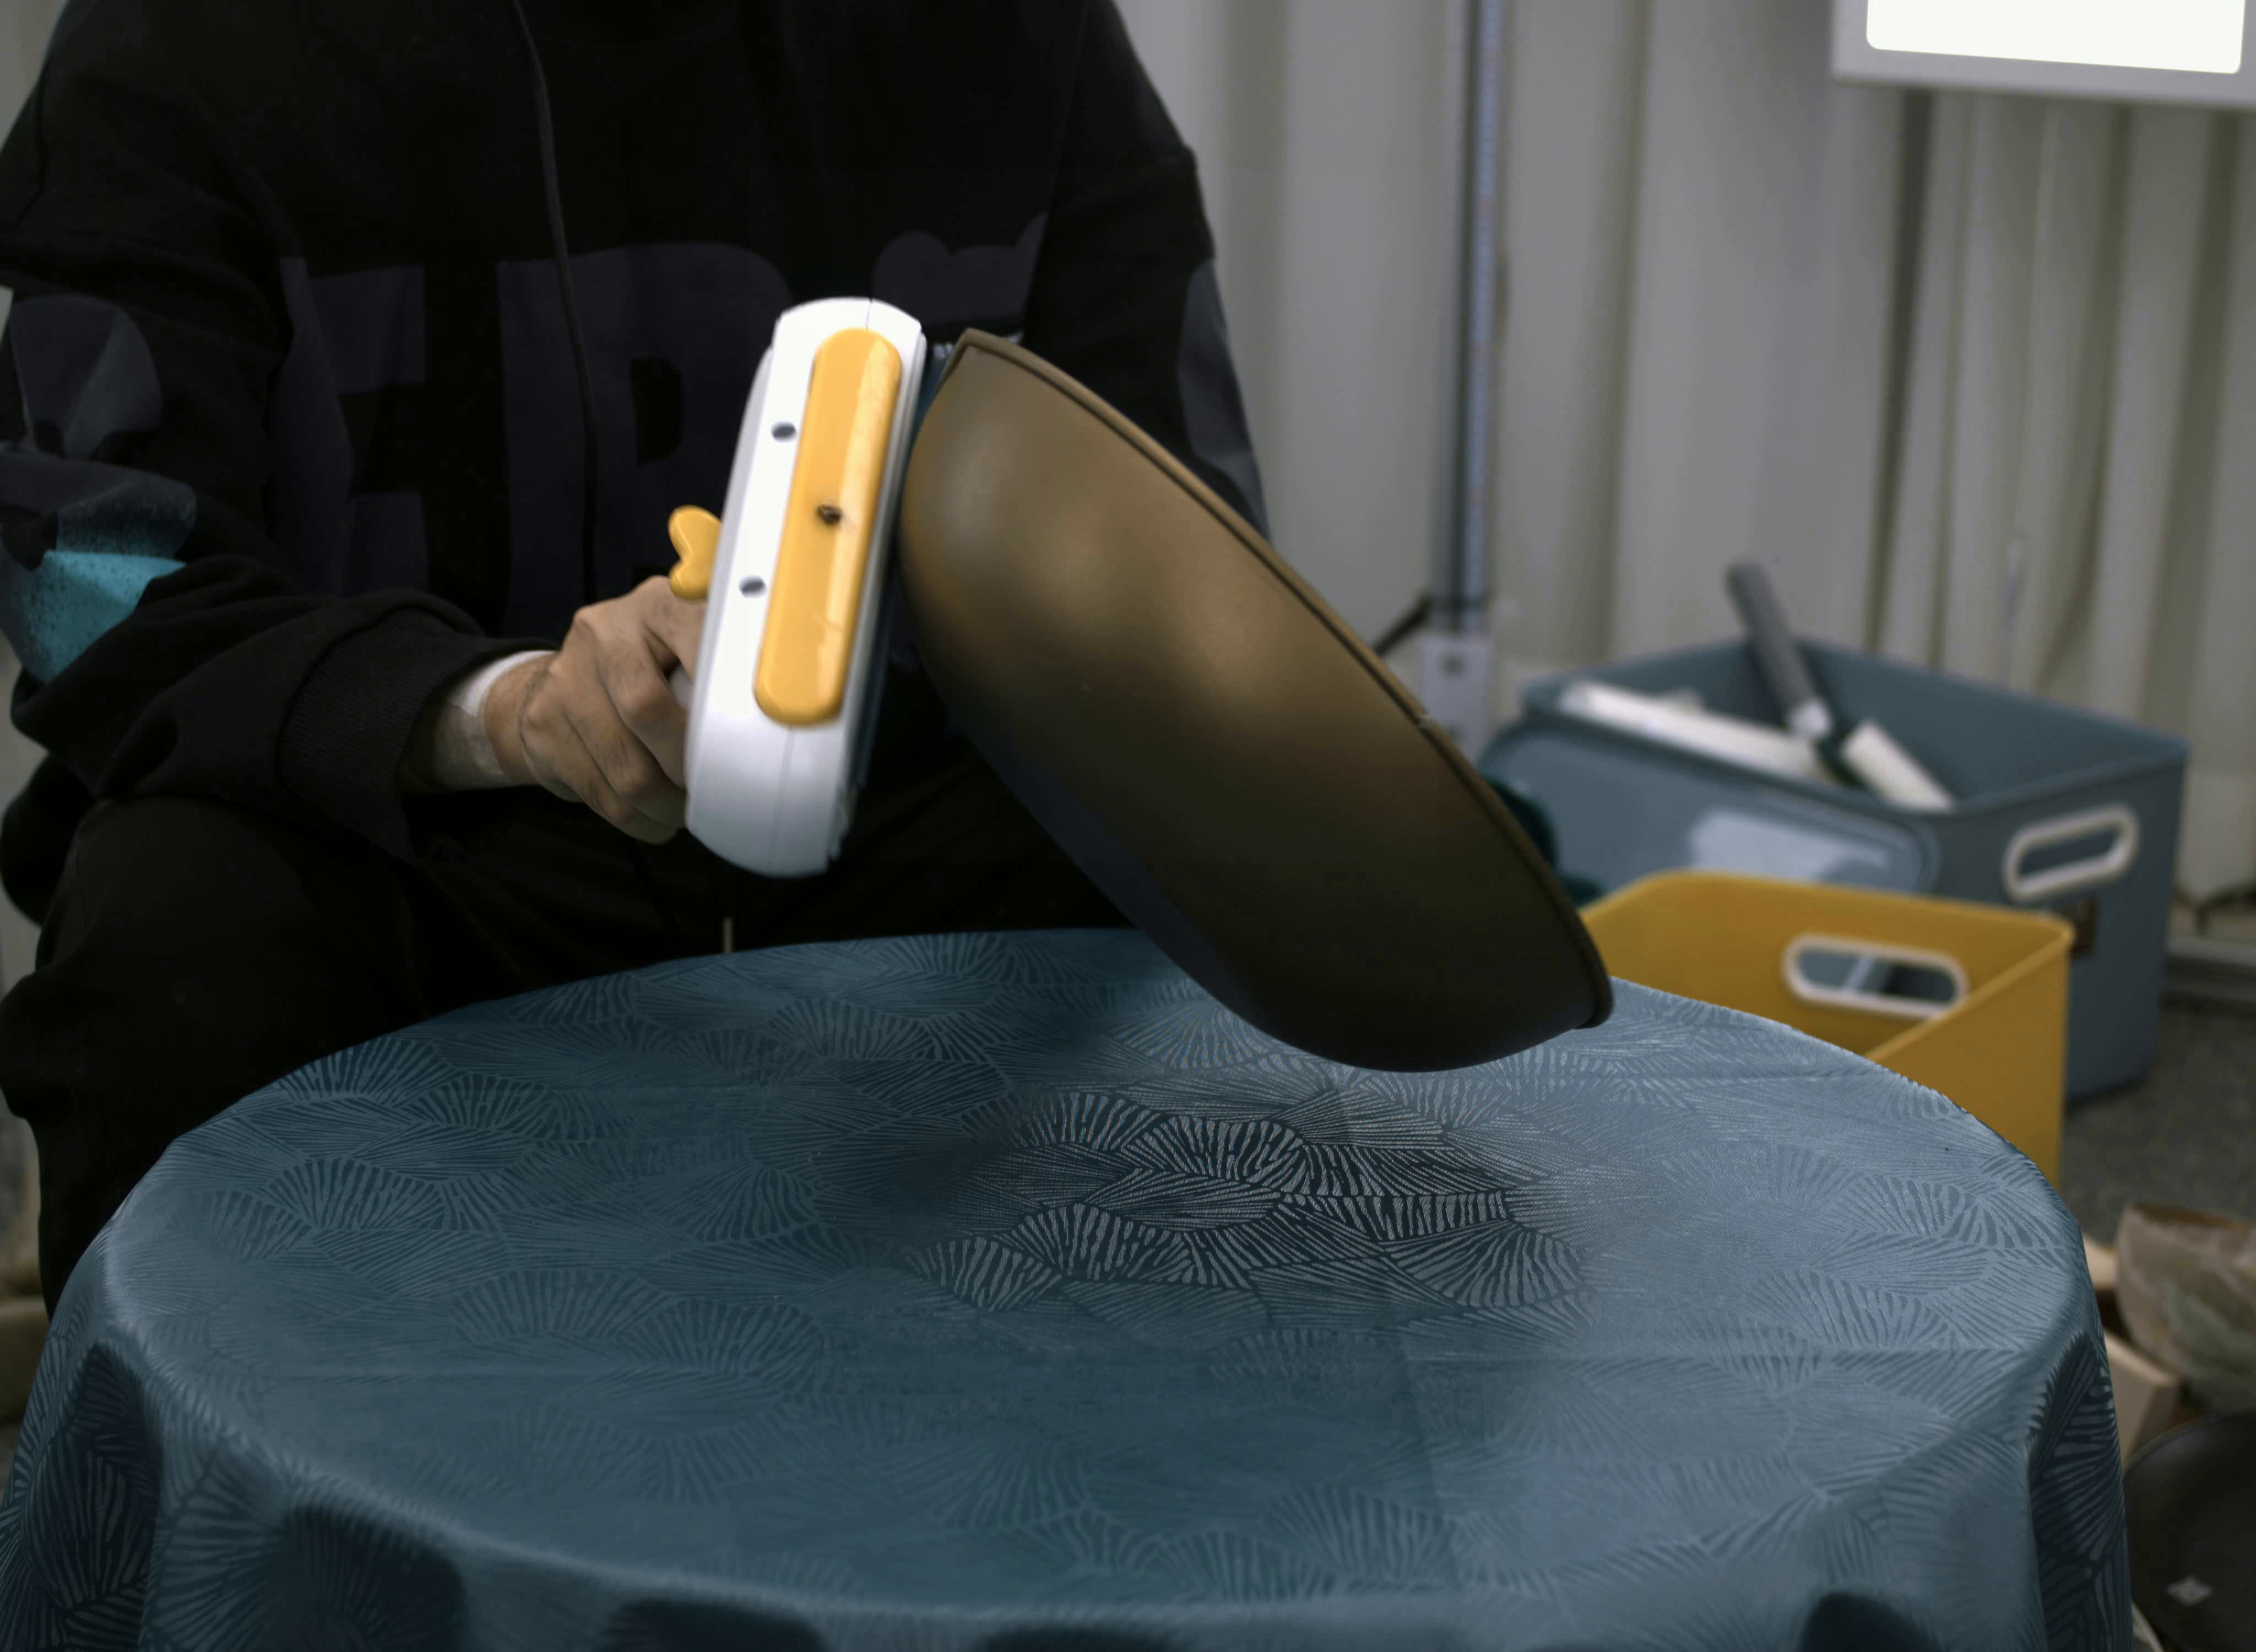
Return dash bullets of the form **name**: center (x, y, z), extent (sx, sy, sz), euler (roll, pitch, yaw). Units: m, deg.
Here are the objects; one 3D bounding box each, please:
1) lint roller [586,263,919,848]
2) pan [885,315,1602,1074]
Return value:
- **lint roller**: center (-0.122, -0.055, 1.643), extent (0.074, 0.193, 0.191), euler (11, 55, -13)
- **pan**: center (-0.001, -0.027, 1.669), extent (0.087, 0.290, 0.461), euler (-43, 11, -6)
